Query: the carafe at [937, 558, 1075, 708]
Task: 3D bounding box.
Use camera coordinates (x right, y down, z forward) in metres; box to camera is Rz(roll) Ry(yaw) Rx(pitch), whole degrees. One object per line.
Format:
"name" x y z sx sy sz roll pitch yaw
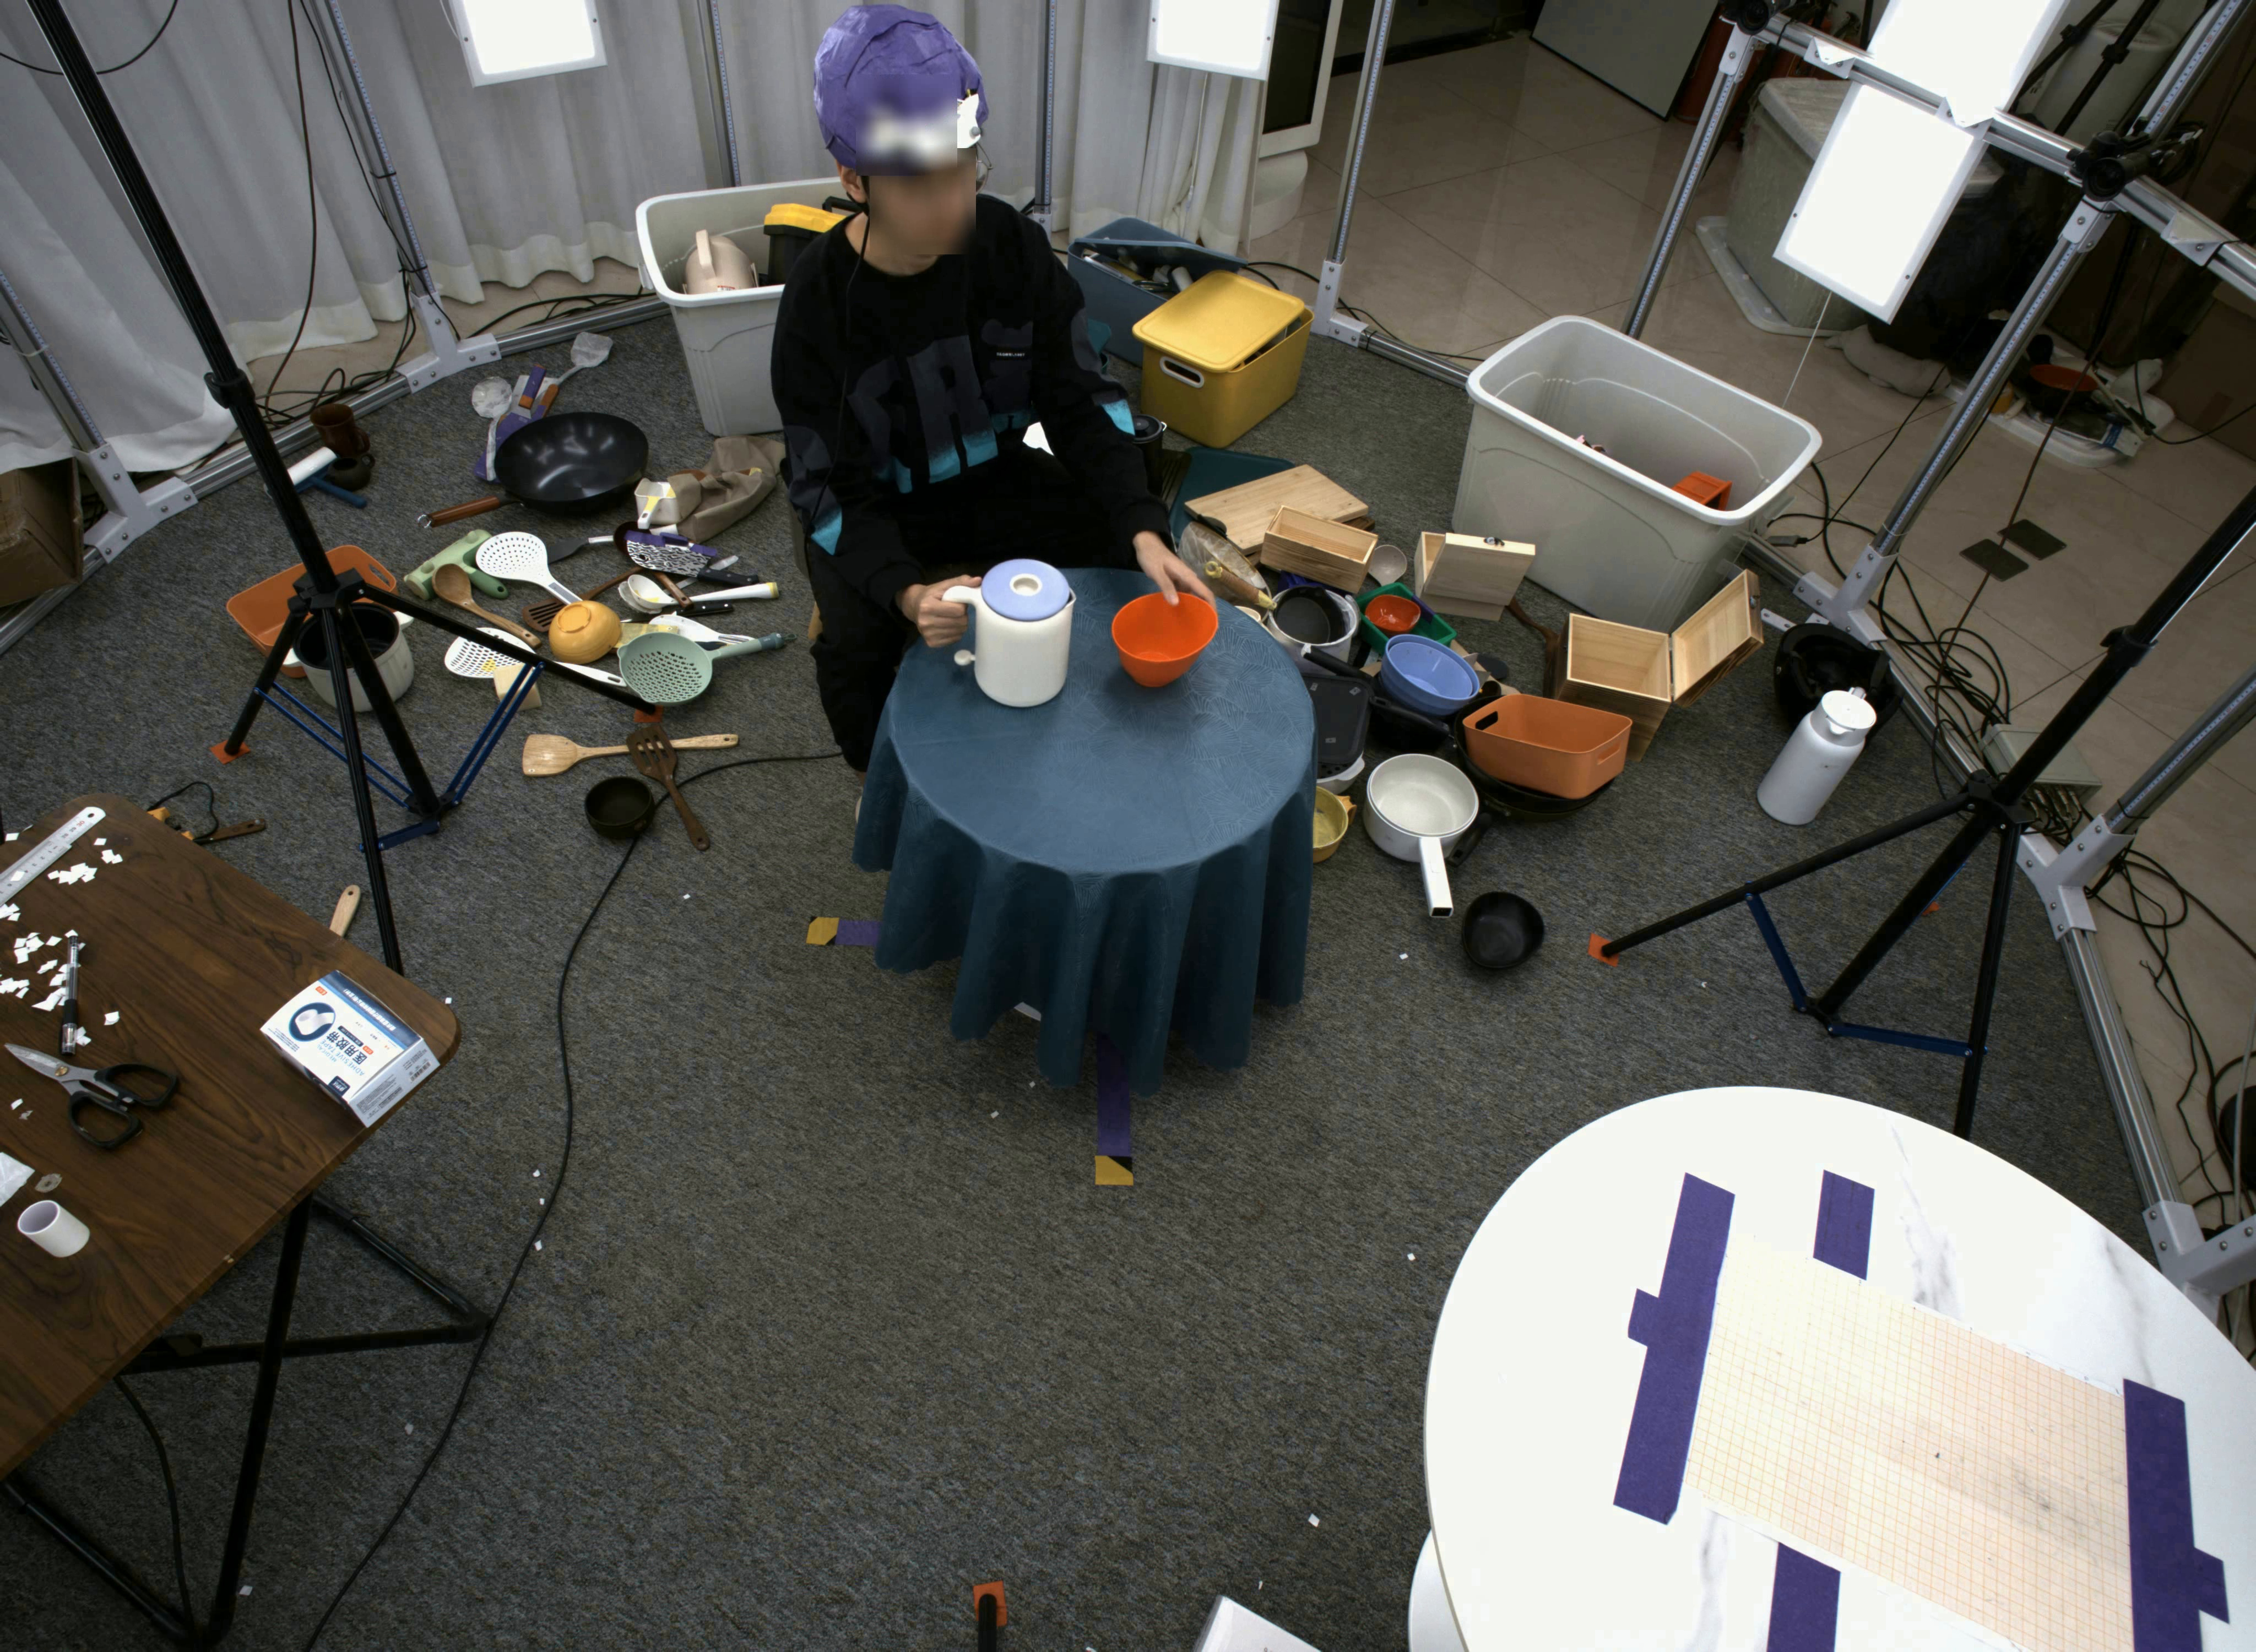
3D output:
"carafe" -0.169 -0.268 1.776 0.191 0.178 0.135 6 49 2

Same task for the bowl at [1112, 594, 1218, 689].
"bowl" 0.048 -0.253 1.826 0.148 0.102 0.152 2 49 -2
